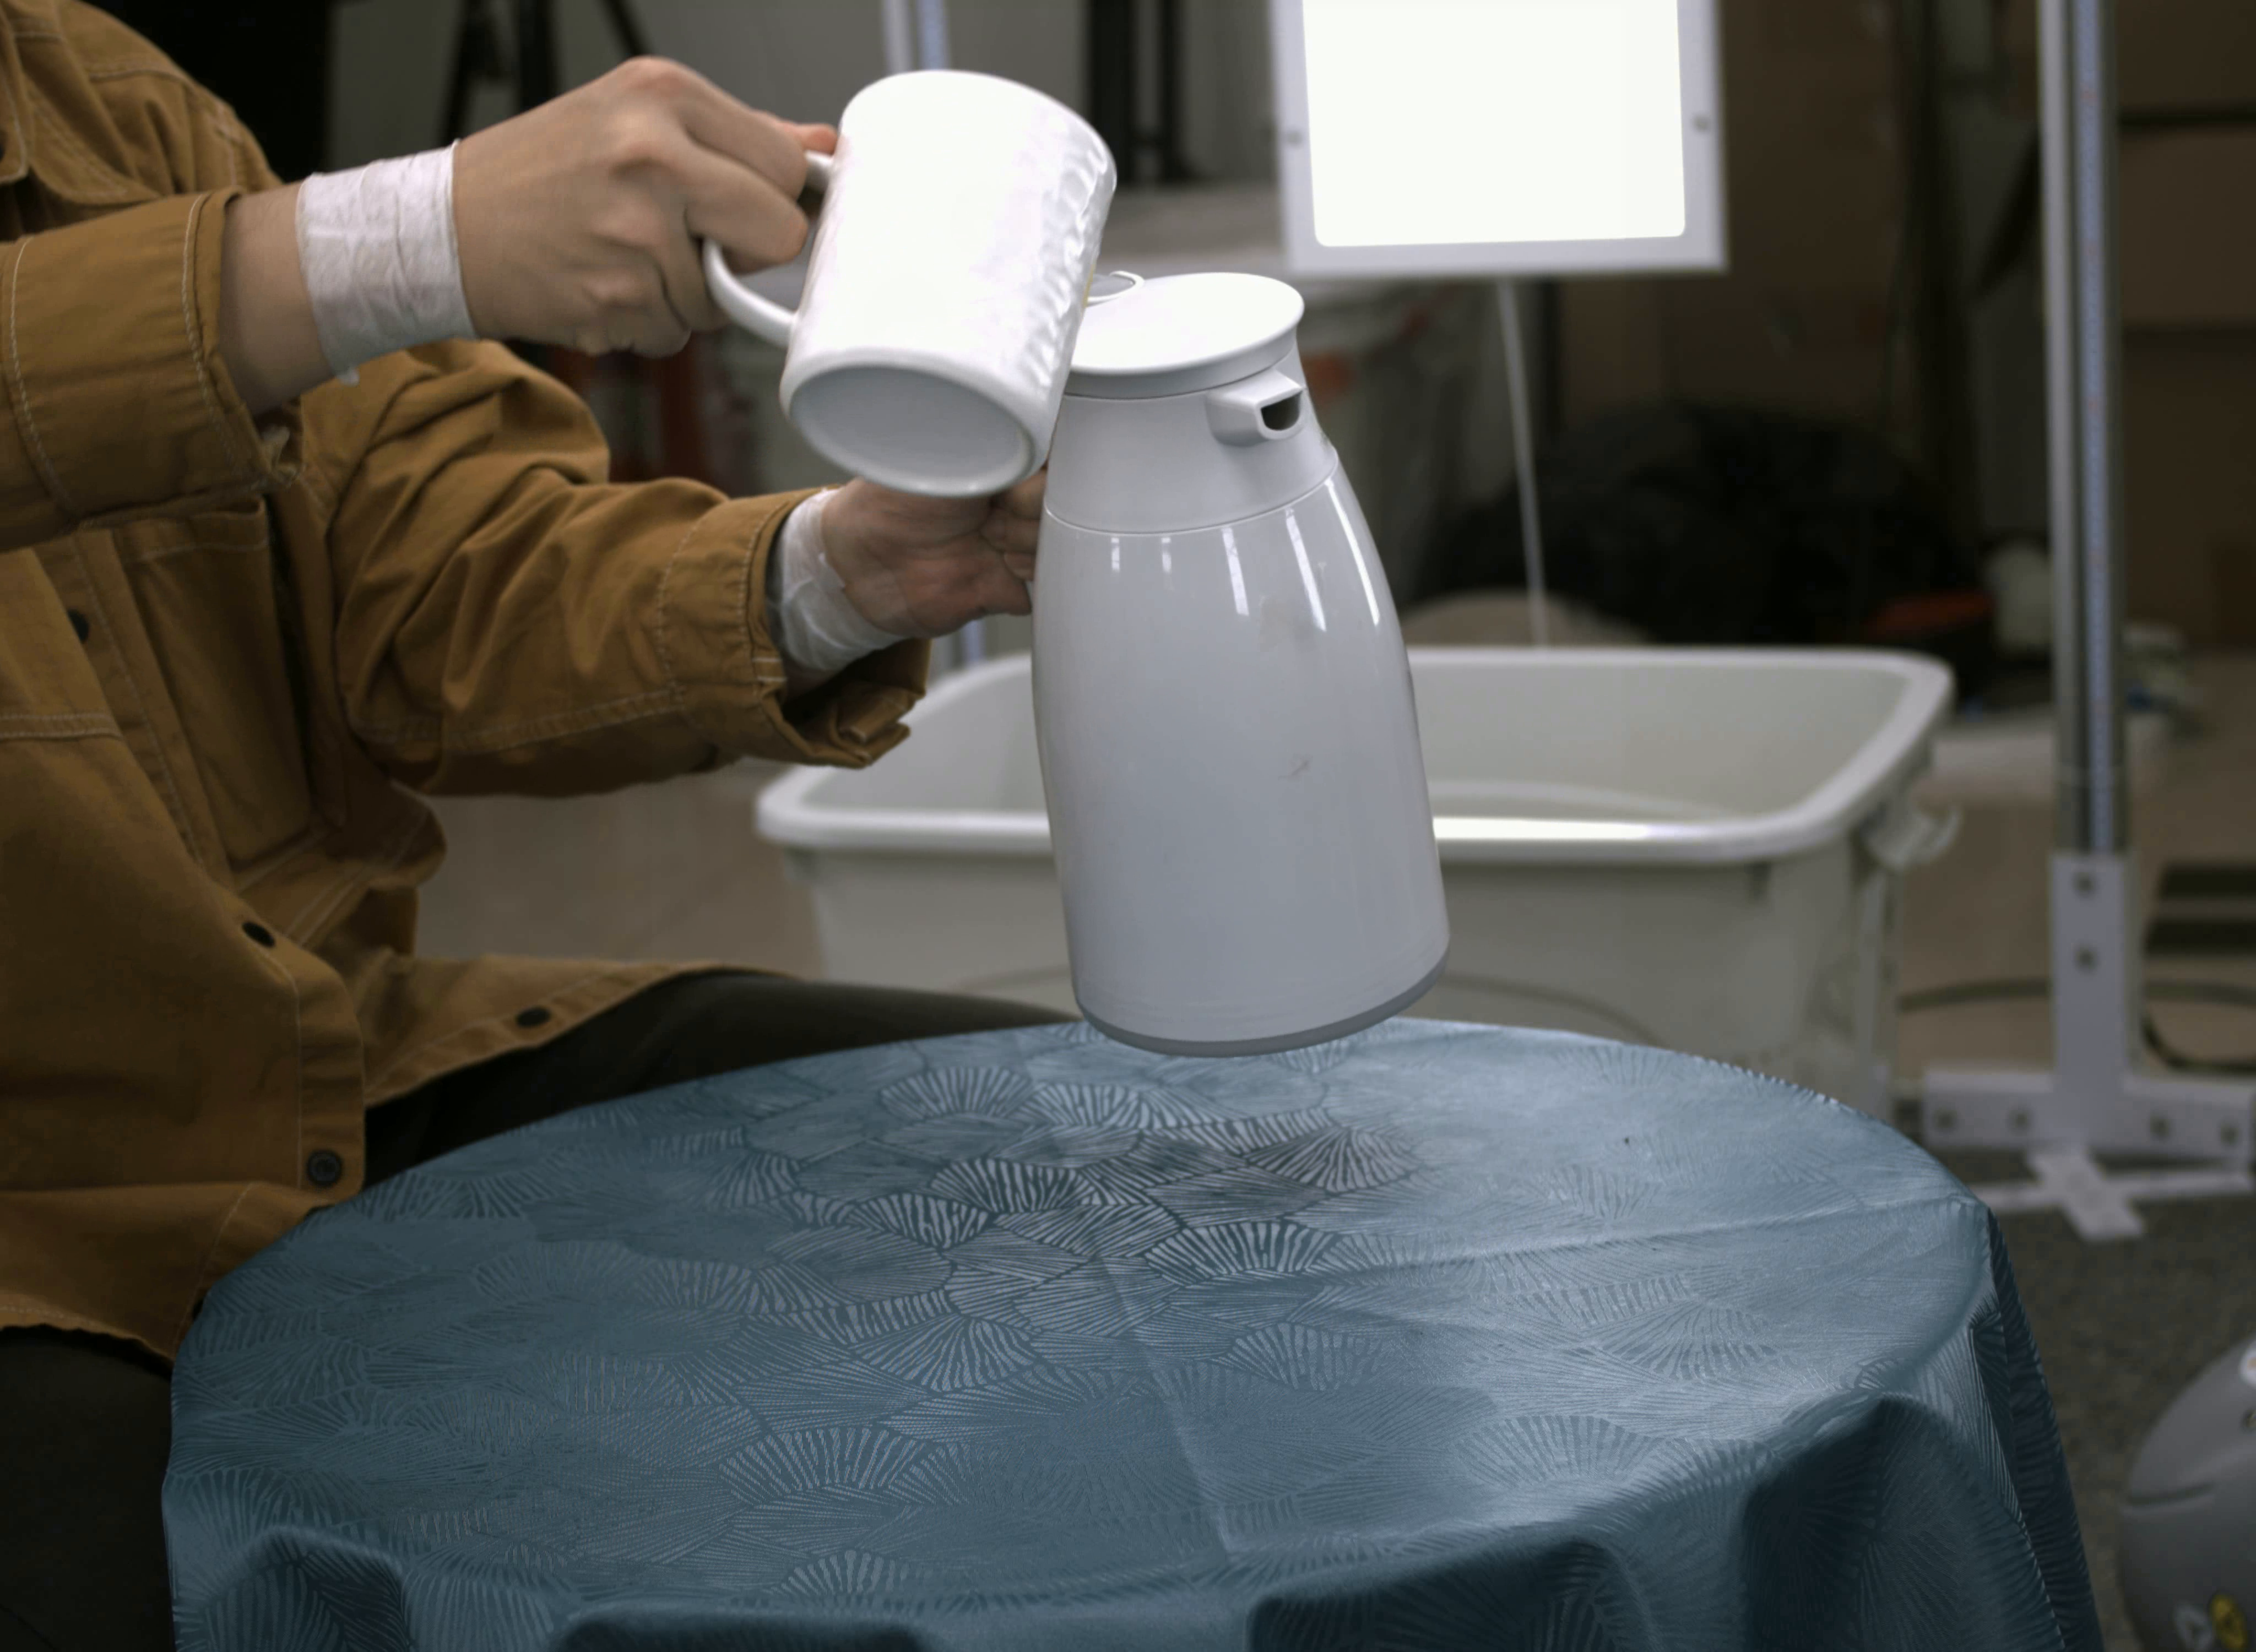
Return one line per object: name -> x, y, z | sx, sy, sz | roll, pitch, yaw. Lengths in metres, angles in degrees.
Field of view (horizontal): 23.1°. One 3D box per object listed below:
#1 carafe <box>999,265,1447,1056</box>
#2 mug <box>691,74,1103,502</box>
carafe -> 0.016, -0.066, 1.867 | 0.130, 0.249, 0.171 | -24, 27, -28
mug -> -0.073, -0.164, 1.658 | 0.118, 0.101, 0.085 | 12, -25, -1
